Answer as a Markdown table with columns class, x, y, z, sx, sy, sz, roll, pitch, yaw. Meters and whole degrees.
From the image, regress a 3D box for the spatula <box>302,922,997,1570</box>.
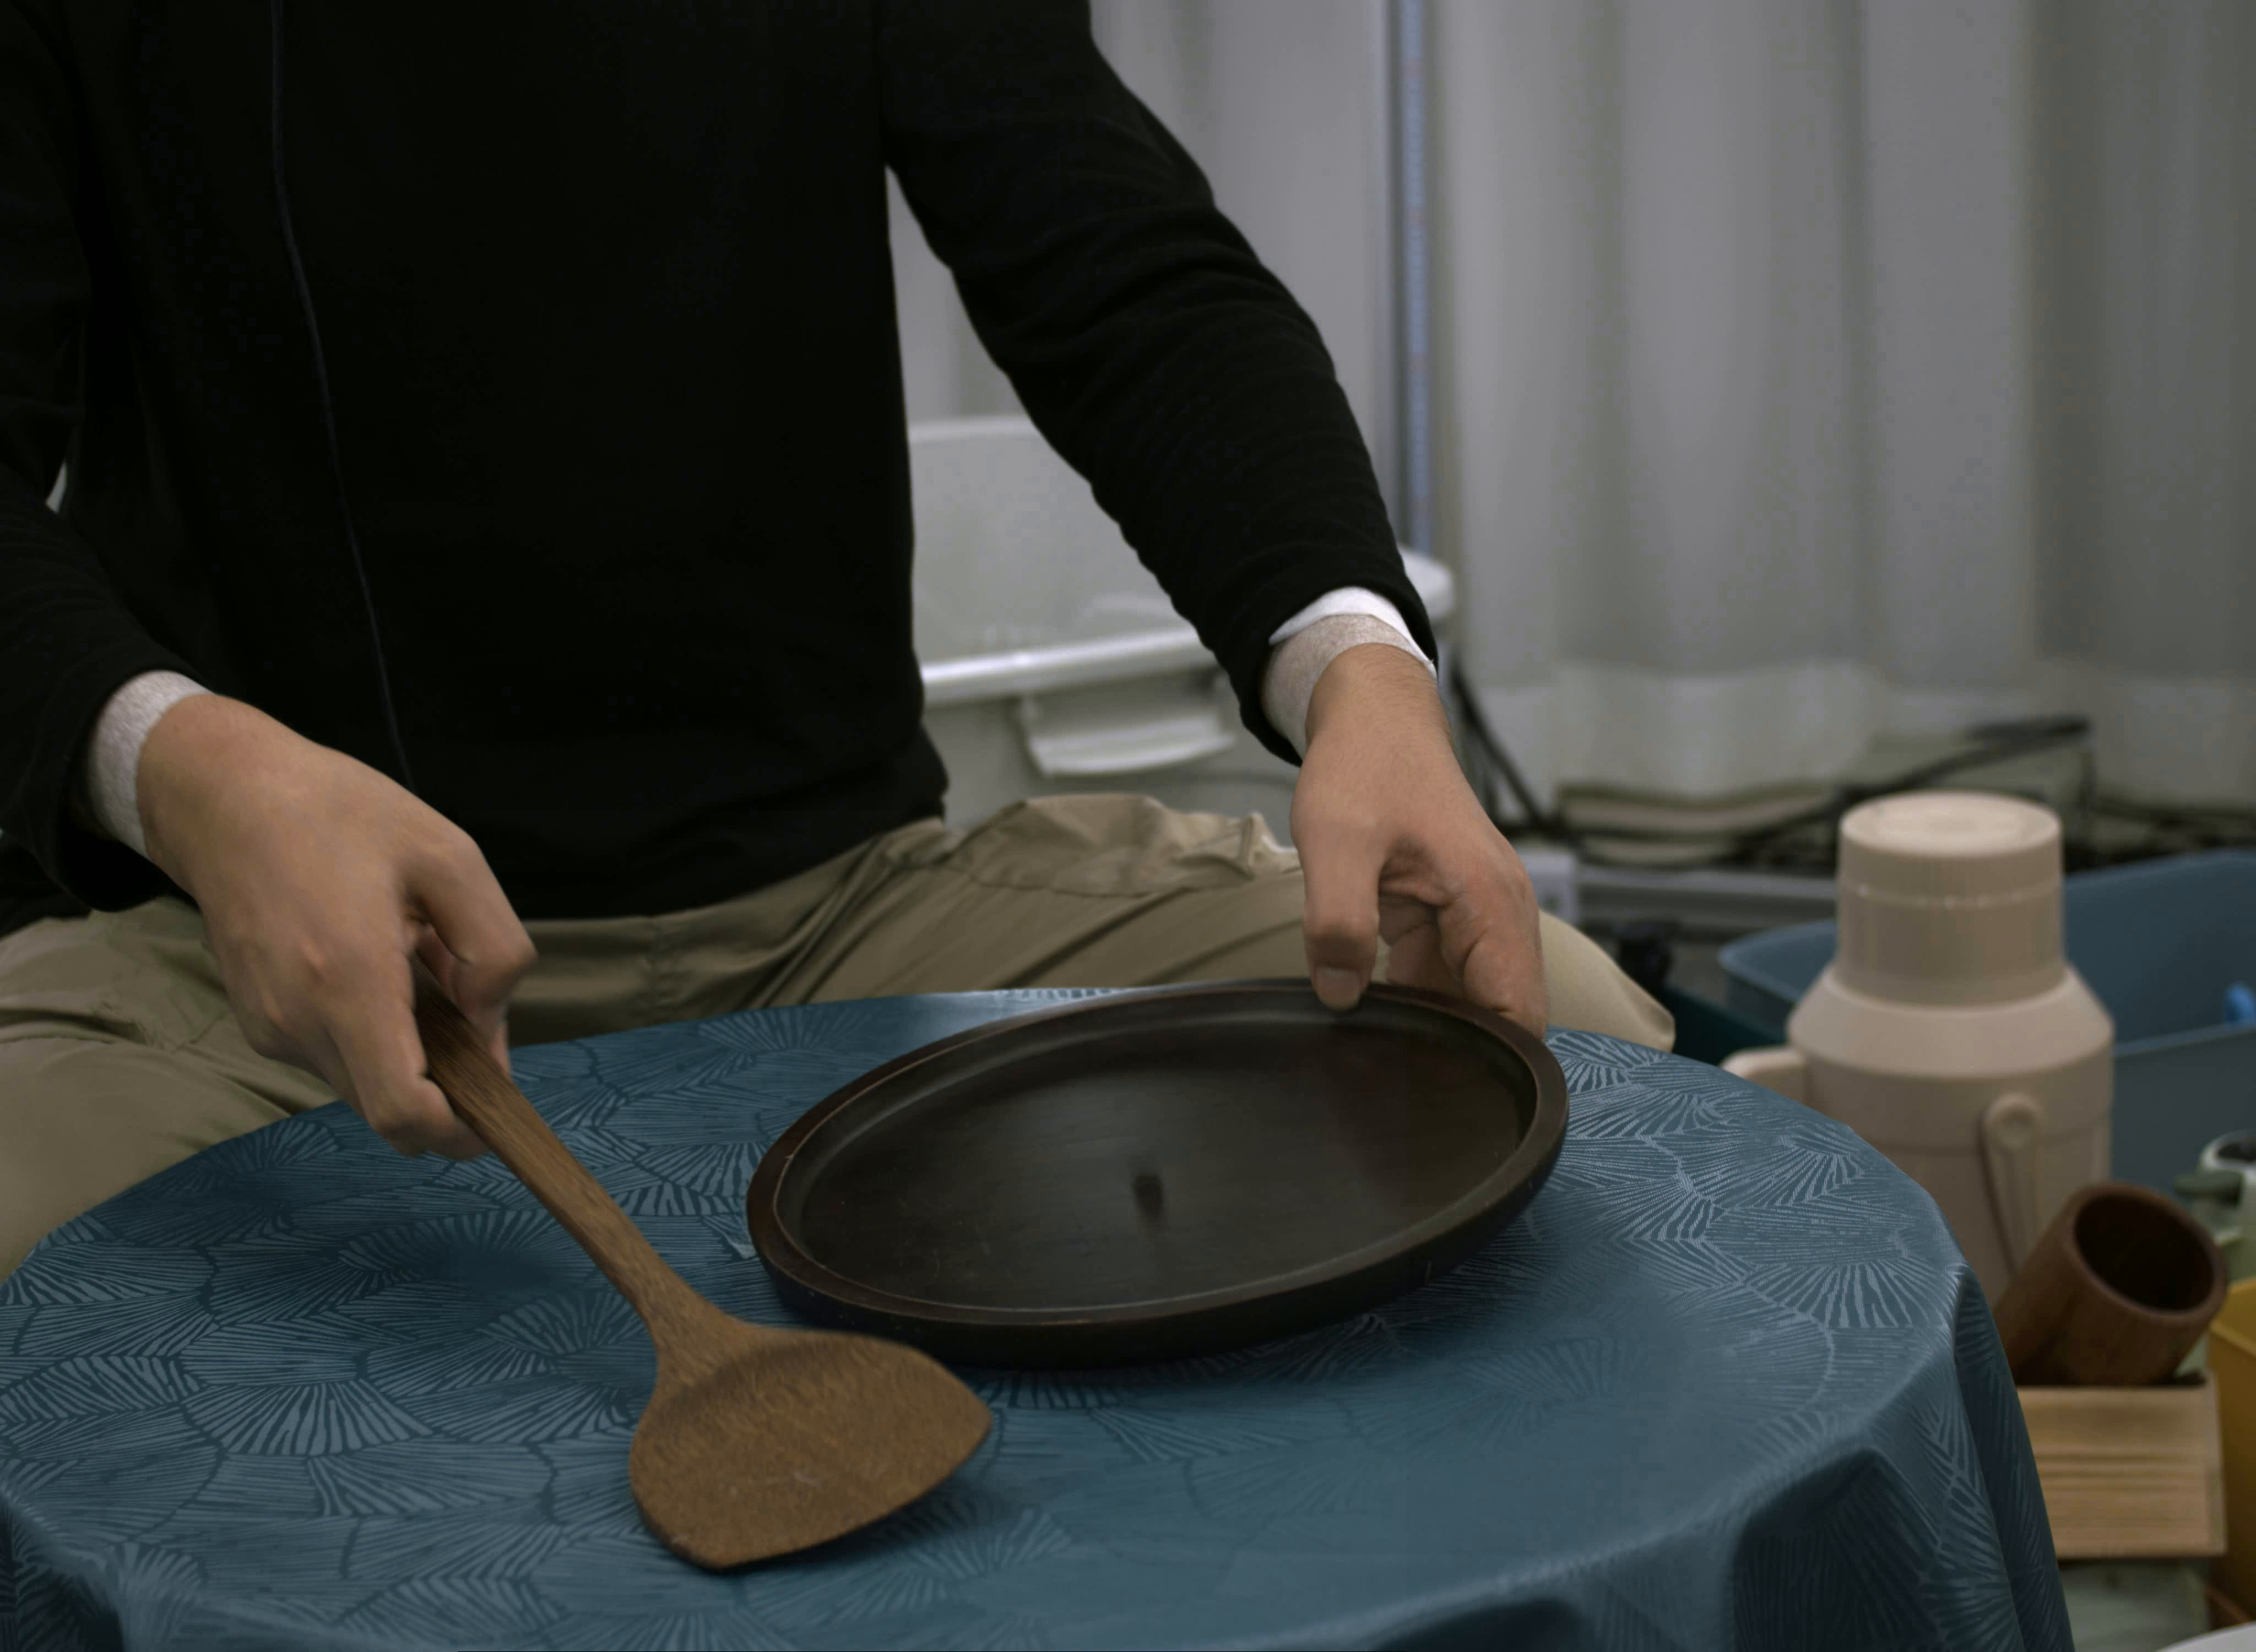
| class | x | y | z | sx | sy | sz | roll | pitch | yaw |
| --- | --- | --- | --- | --- | --- | --- | --- | --- | --- |
| spatula | -0.161 | 0.109 | 1.587 | 0.096 | 0.015 | 0.390 | -22 | 34 | -21 |

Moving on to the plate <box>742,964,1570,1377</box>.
| class | x | y | z | sx | sy | sz | roll | pitch | yaw |
| --- | --- | --- | --- | --- | --- | --- | --- | --- | --- |
| plate | 0.009 | 0.105 | 1.653 | 0.254 | 0.029 | 0.257 | -9 | 19 | 3 |
